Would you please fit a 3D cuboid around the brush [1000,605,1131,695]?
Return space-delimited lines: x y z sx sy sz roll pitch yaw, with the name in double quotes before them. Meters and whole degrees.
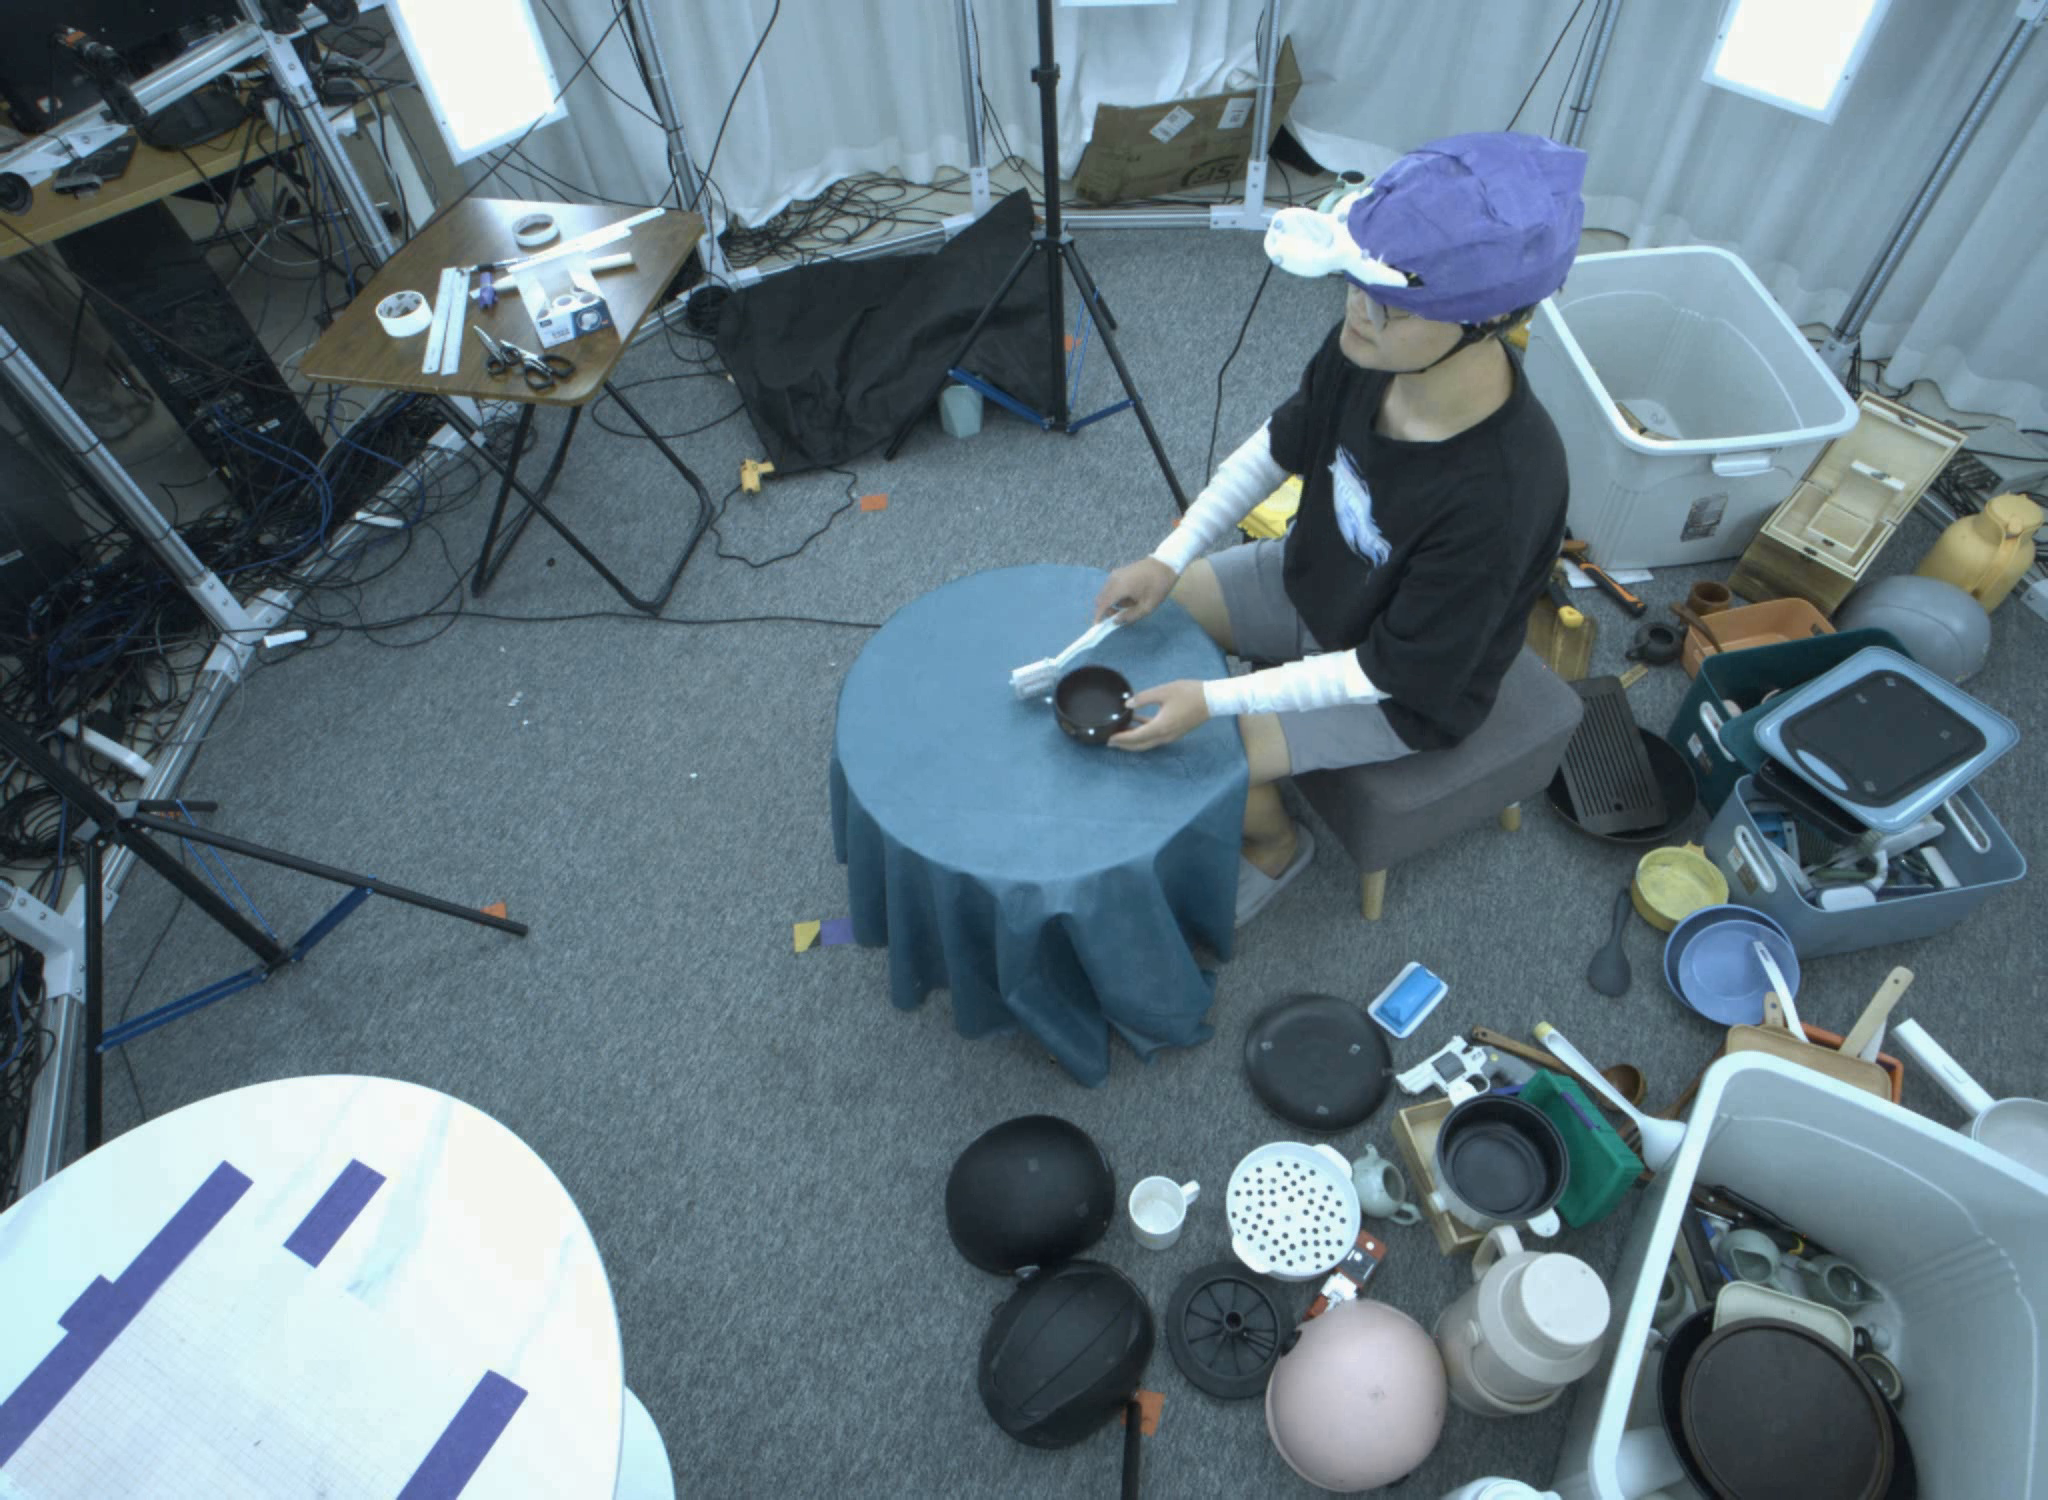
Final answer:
"brush" 0.070 -0.150 1.840 0.245 0.035 0.049 -28 50 -17

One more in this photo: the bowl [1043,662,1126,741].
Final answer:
"bowl" 0.087 -0.062 1.775 0.118 0.070 0.117 0 52 1
